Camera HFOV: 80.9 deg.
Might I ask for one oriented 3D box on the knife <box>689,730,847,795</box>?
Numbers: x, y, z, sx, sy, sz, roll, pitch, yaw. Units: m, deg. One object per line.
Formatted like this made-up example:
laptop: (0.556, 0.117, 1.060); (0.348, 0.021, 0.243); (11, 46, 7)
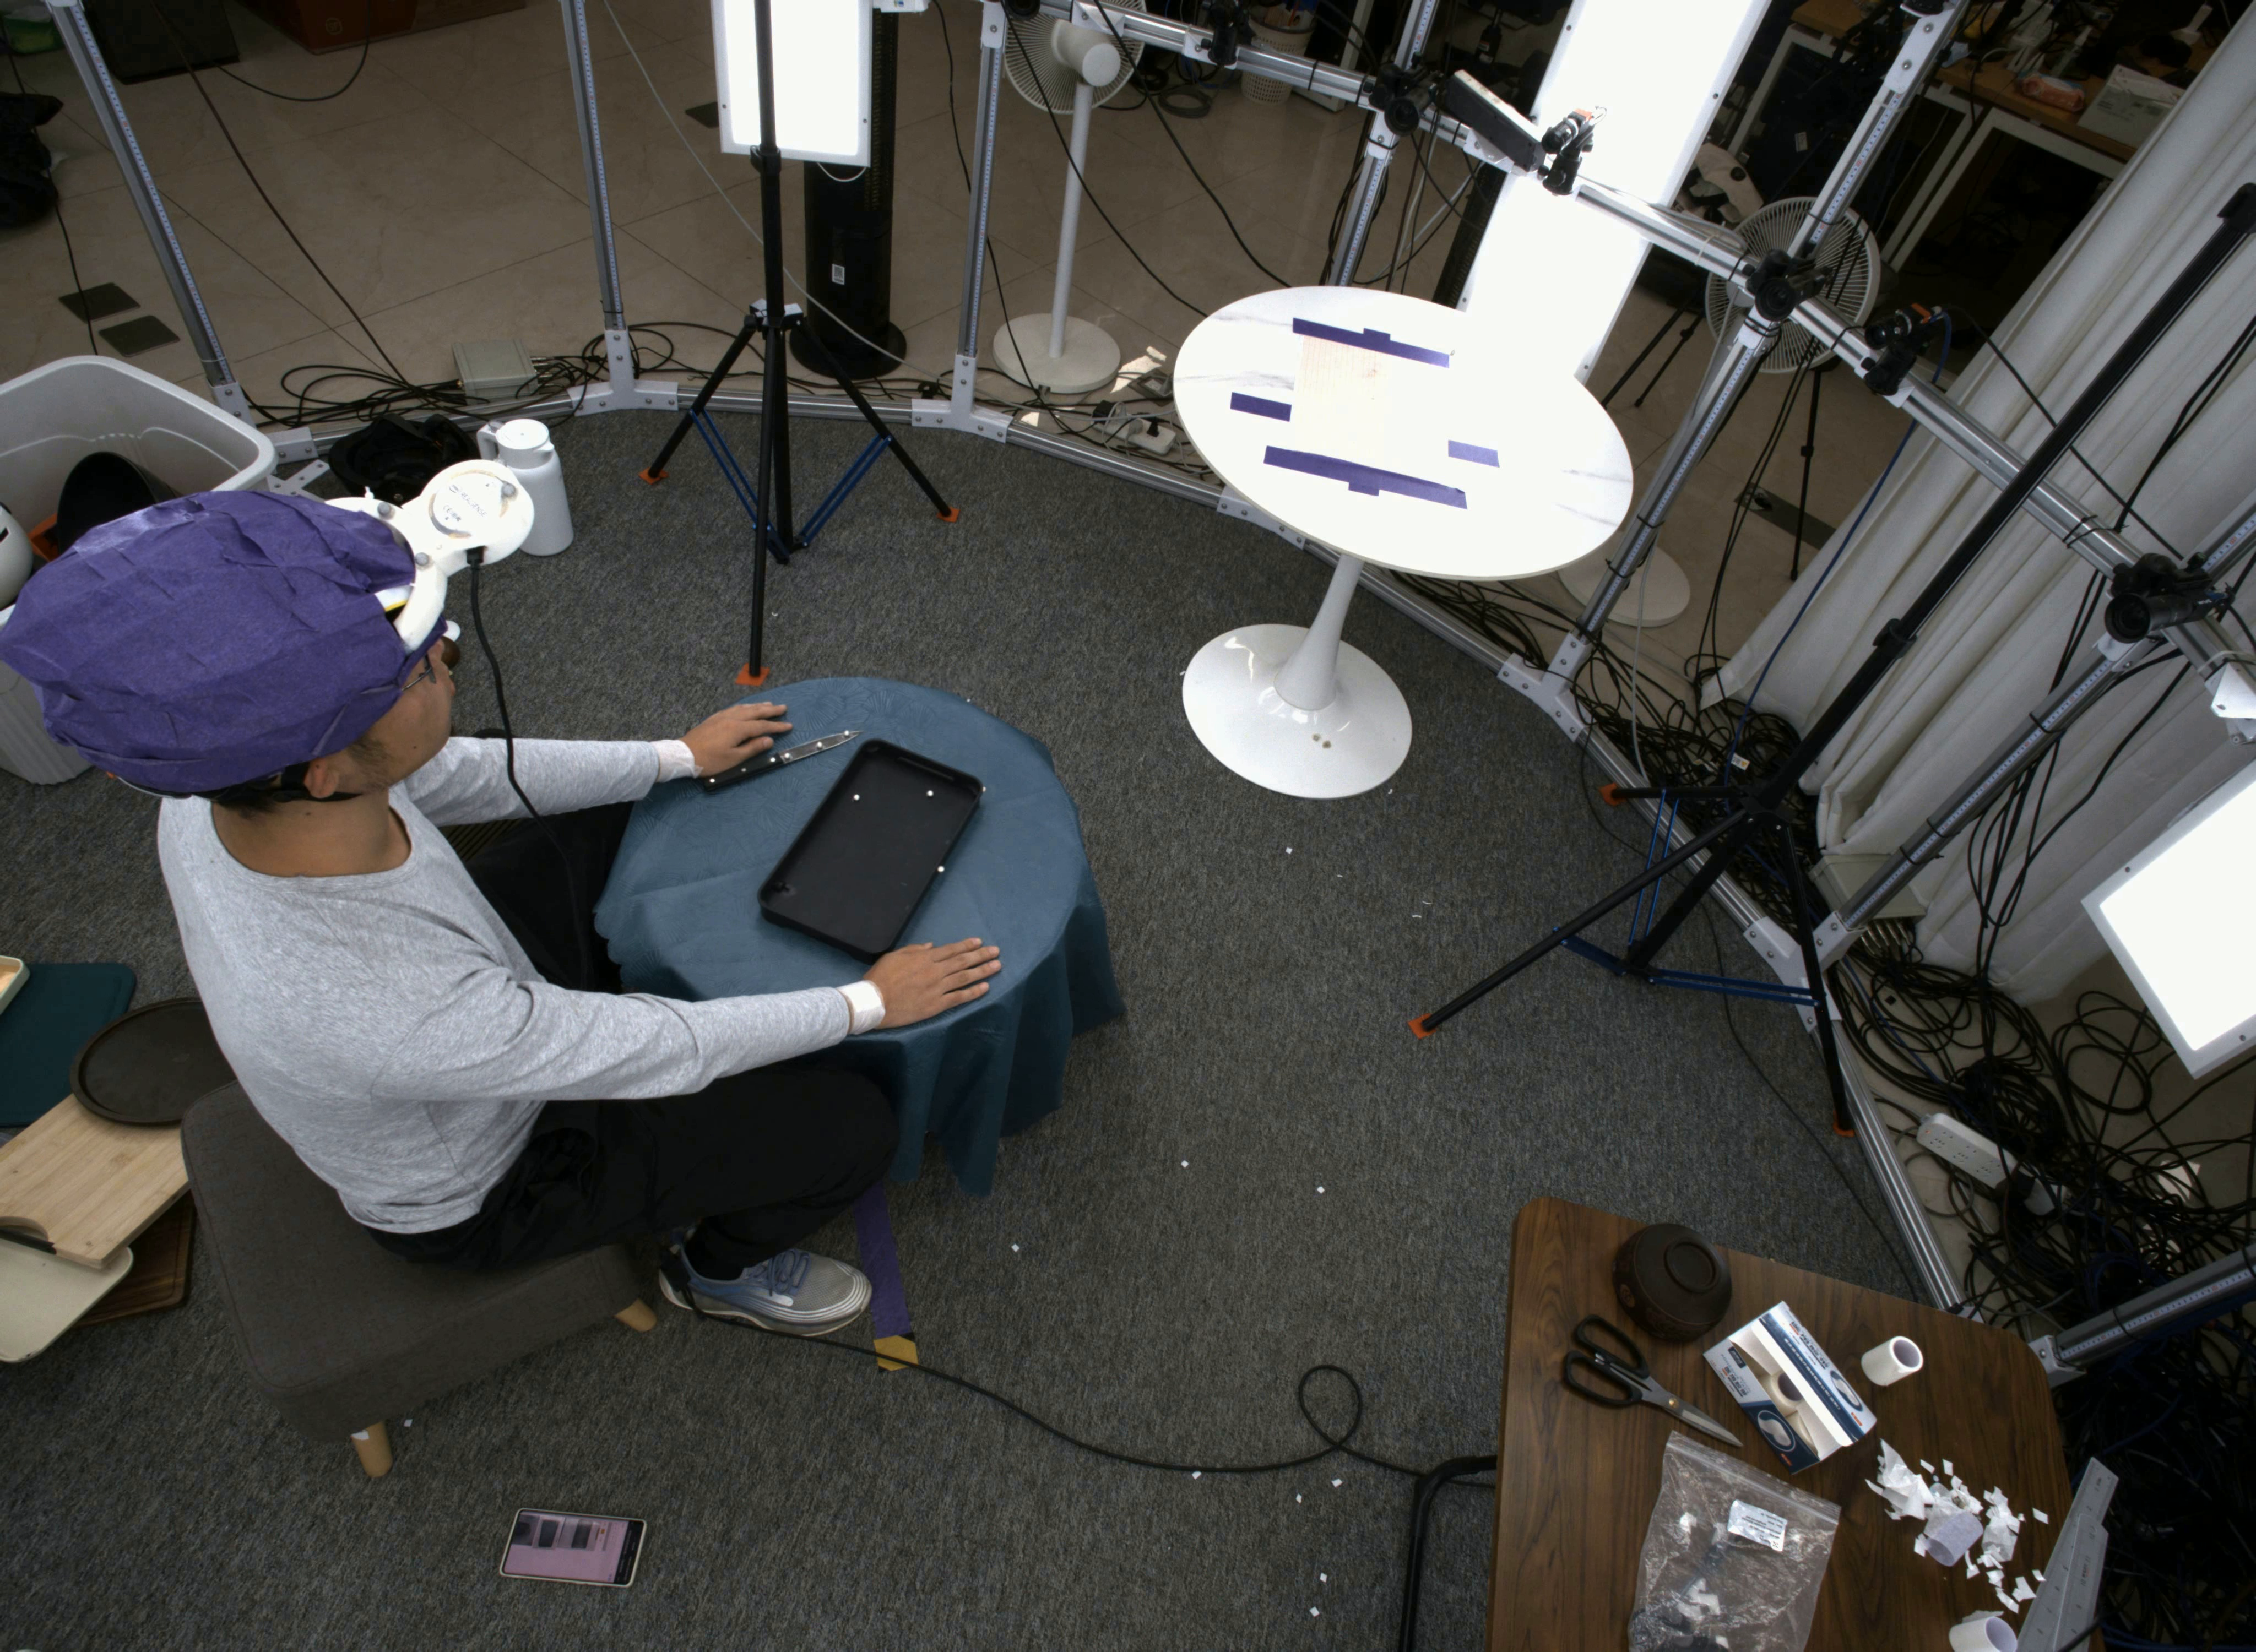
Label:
knife: (-0.490, -0.091, 1.779); (0.239, 0.016, 0.024); (-25, 62, -31)

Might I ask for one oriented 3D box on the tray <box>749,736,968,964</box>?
tray: (-0.349, 0.024, 1.713); (0.182, 0.038, 0.315); (21, 52, 2)
